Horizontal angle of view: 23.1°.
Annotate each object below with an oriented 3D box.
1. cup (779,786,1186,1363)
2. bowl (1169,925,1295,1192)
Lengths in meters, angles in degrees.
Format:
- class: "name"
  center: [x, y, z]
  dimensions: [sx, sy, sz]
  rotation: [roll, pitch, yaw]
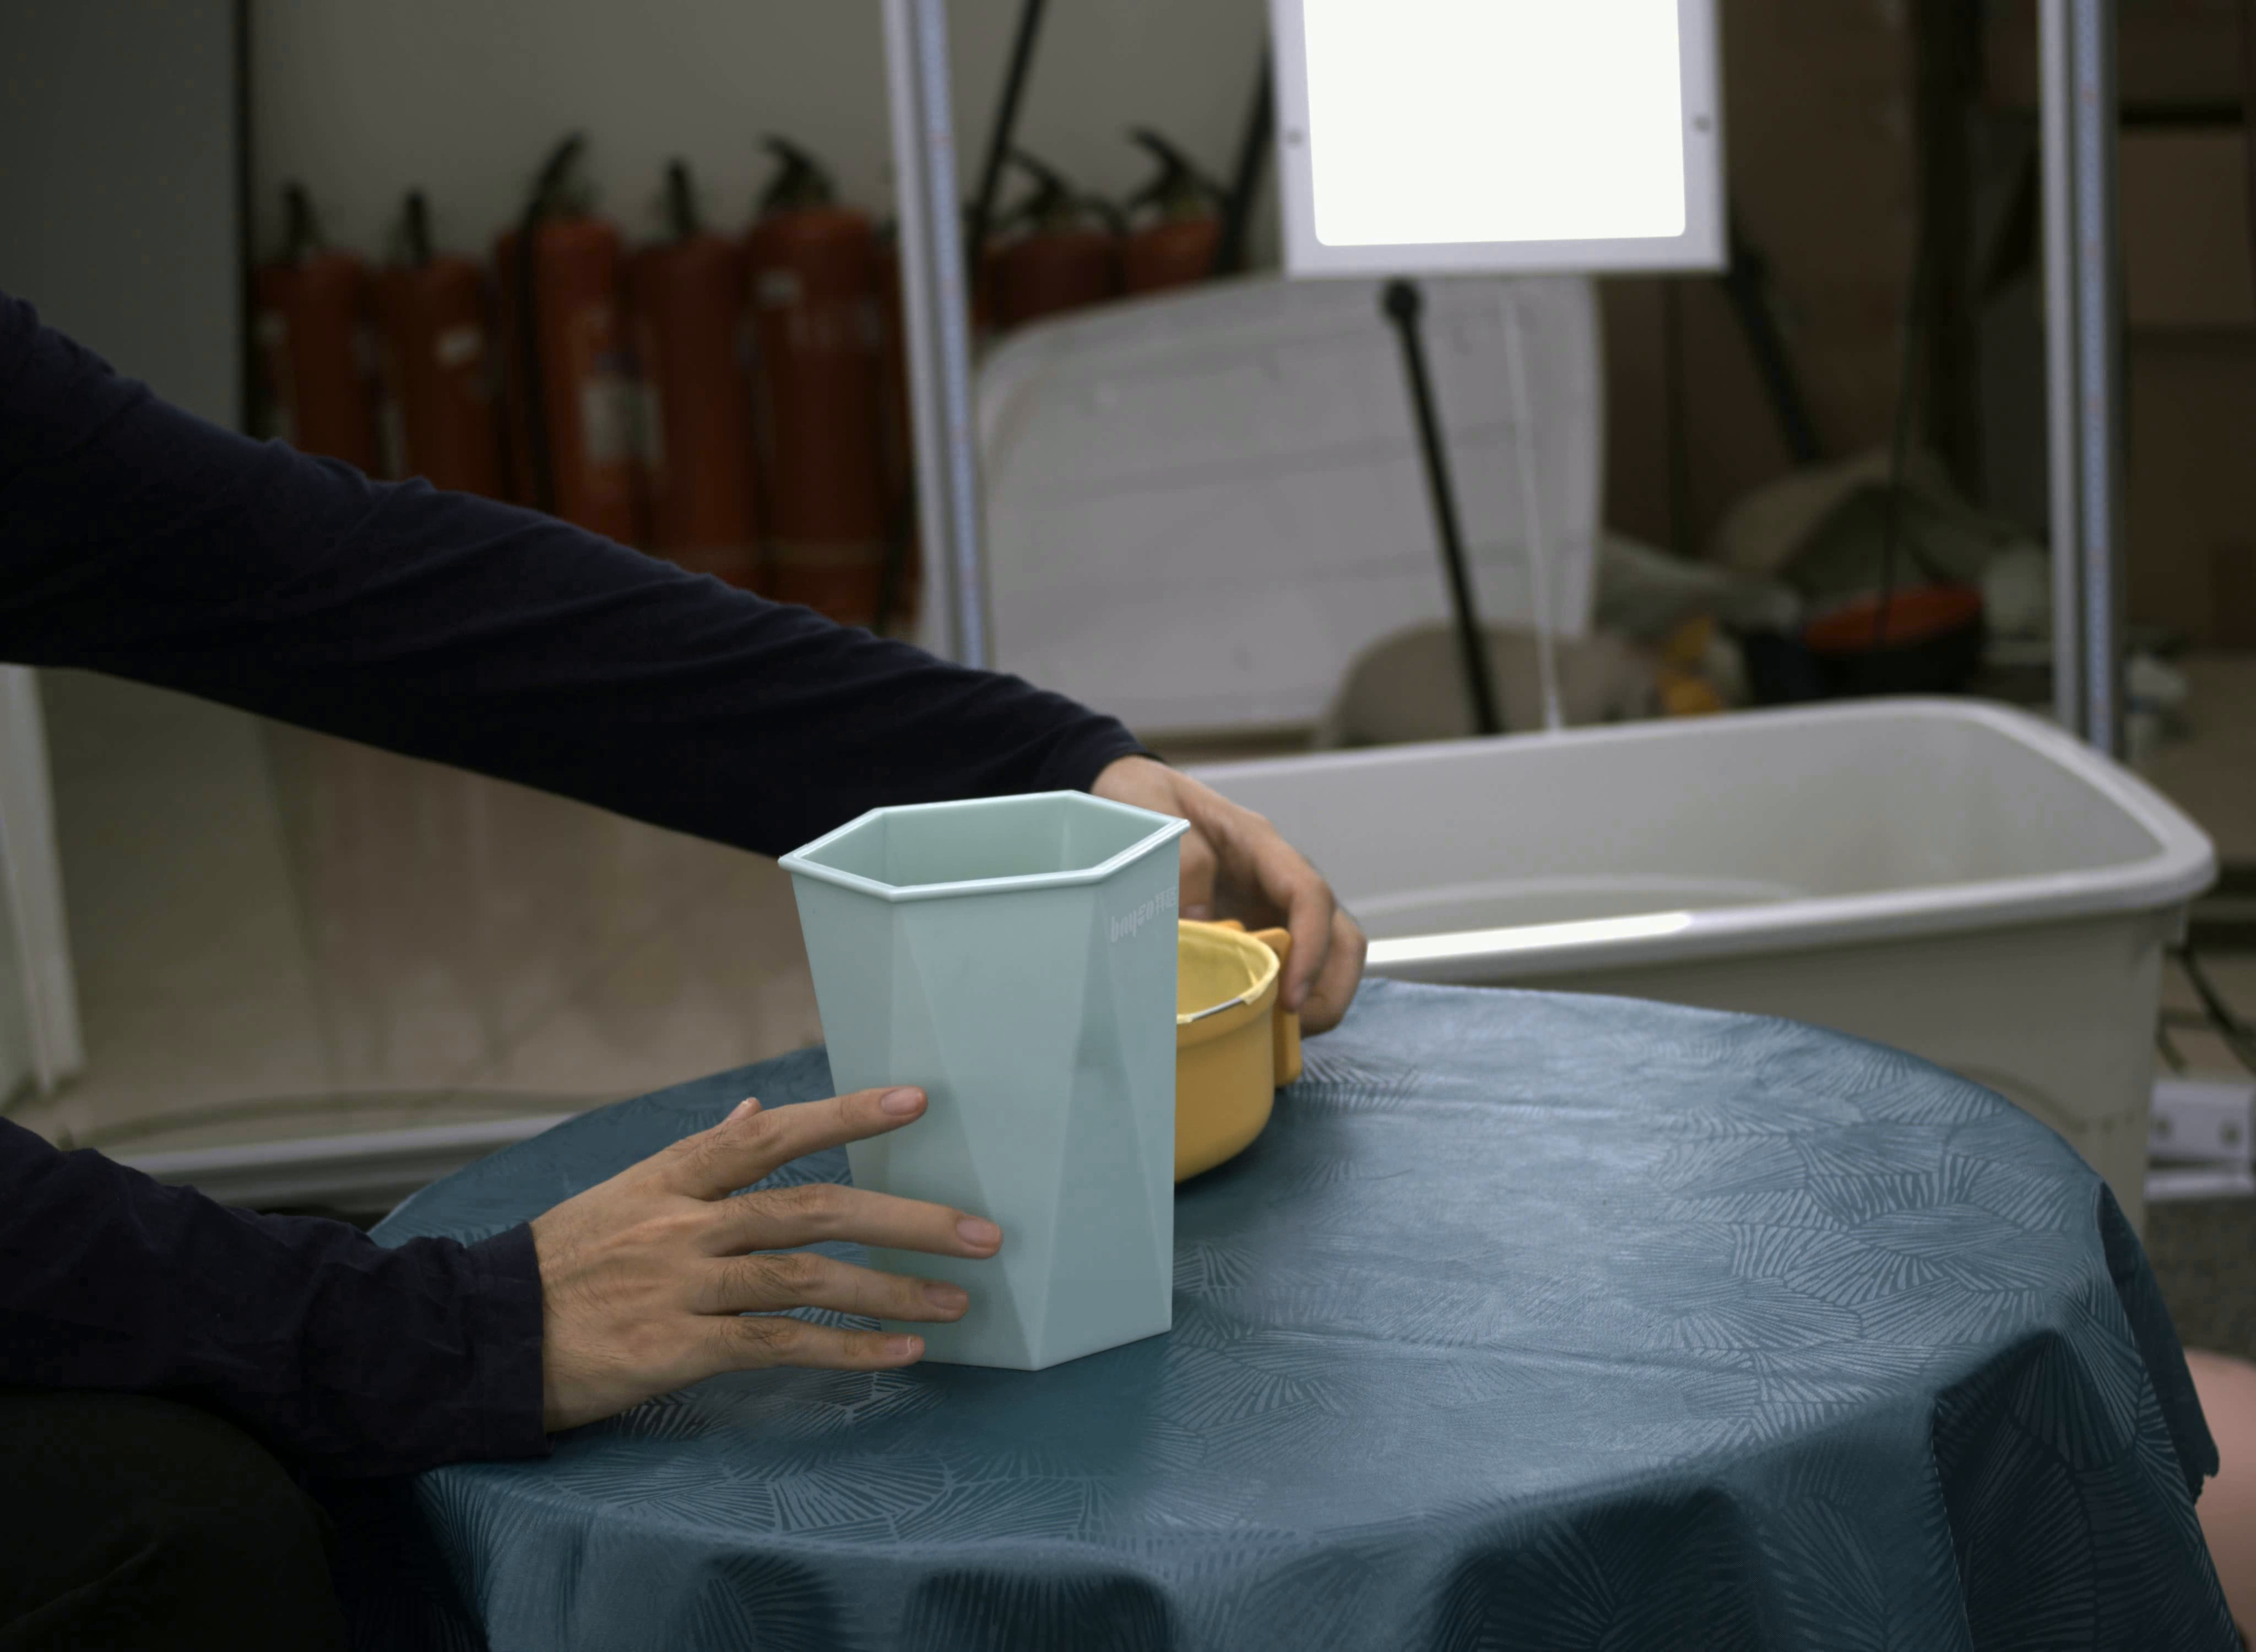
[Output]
- class: "cup"
  center: [-0.039, 0.079, 1.758]
  dimensions: [0.117, 0.163, 0.128]
  rotation: [1, 14, 25]
- class: "bowl"
  center: [-0.010, 0.083, 1.944]
  dimensions: [0.156, 0.074, 0.175]
  rotation: [6, 19, 44]
